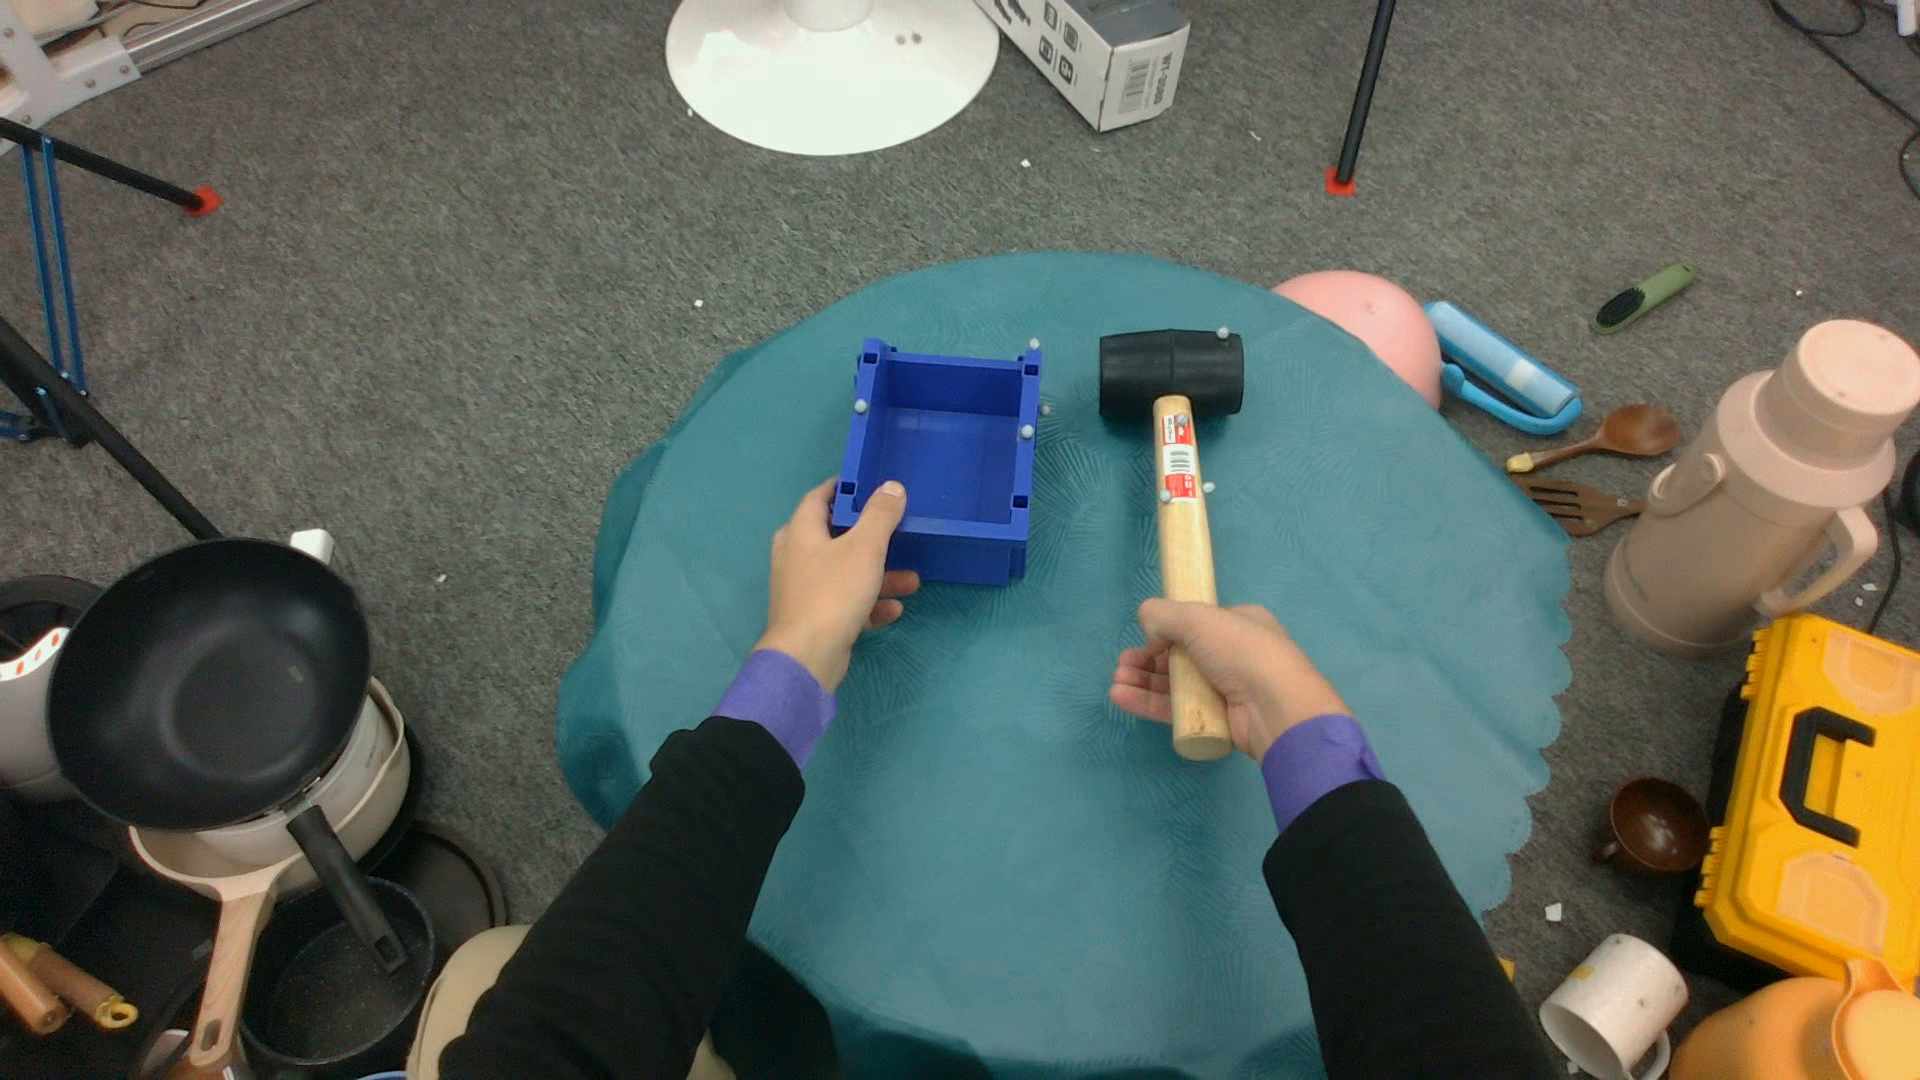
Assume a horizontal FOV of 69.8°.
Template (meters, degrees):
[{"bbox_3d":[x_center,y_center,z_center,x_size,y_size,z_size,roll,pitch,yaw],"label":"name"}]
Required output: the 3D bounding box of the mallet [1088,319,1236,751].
[{"bbox_3d":[0.134,-0.023,0.858,0.102,0.064,0.340,-2,45,6],"label":"mallet"}]

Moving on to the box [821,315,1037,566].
[{"bbox_3d":[-0.018,-0.073,0.914,0.124,0.081,0.180,5,61,3],"label":"box"}]
